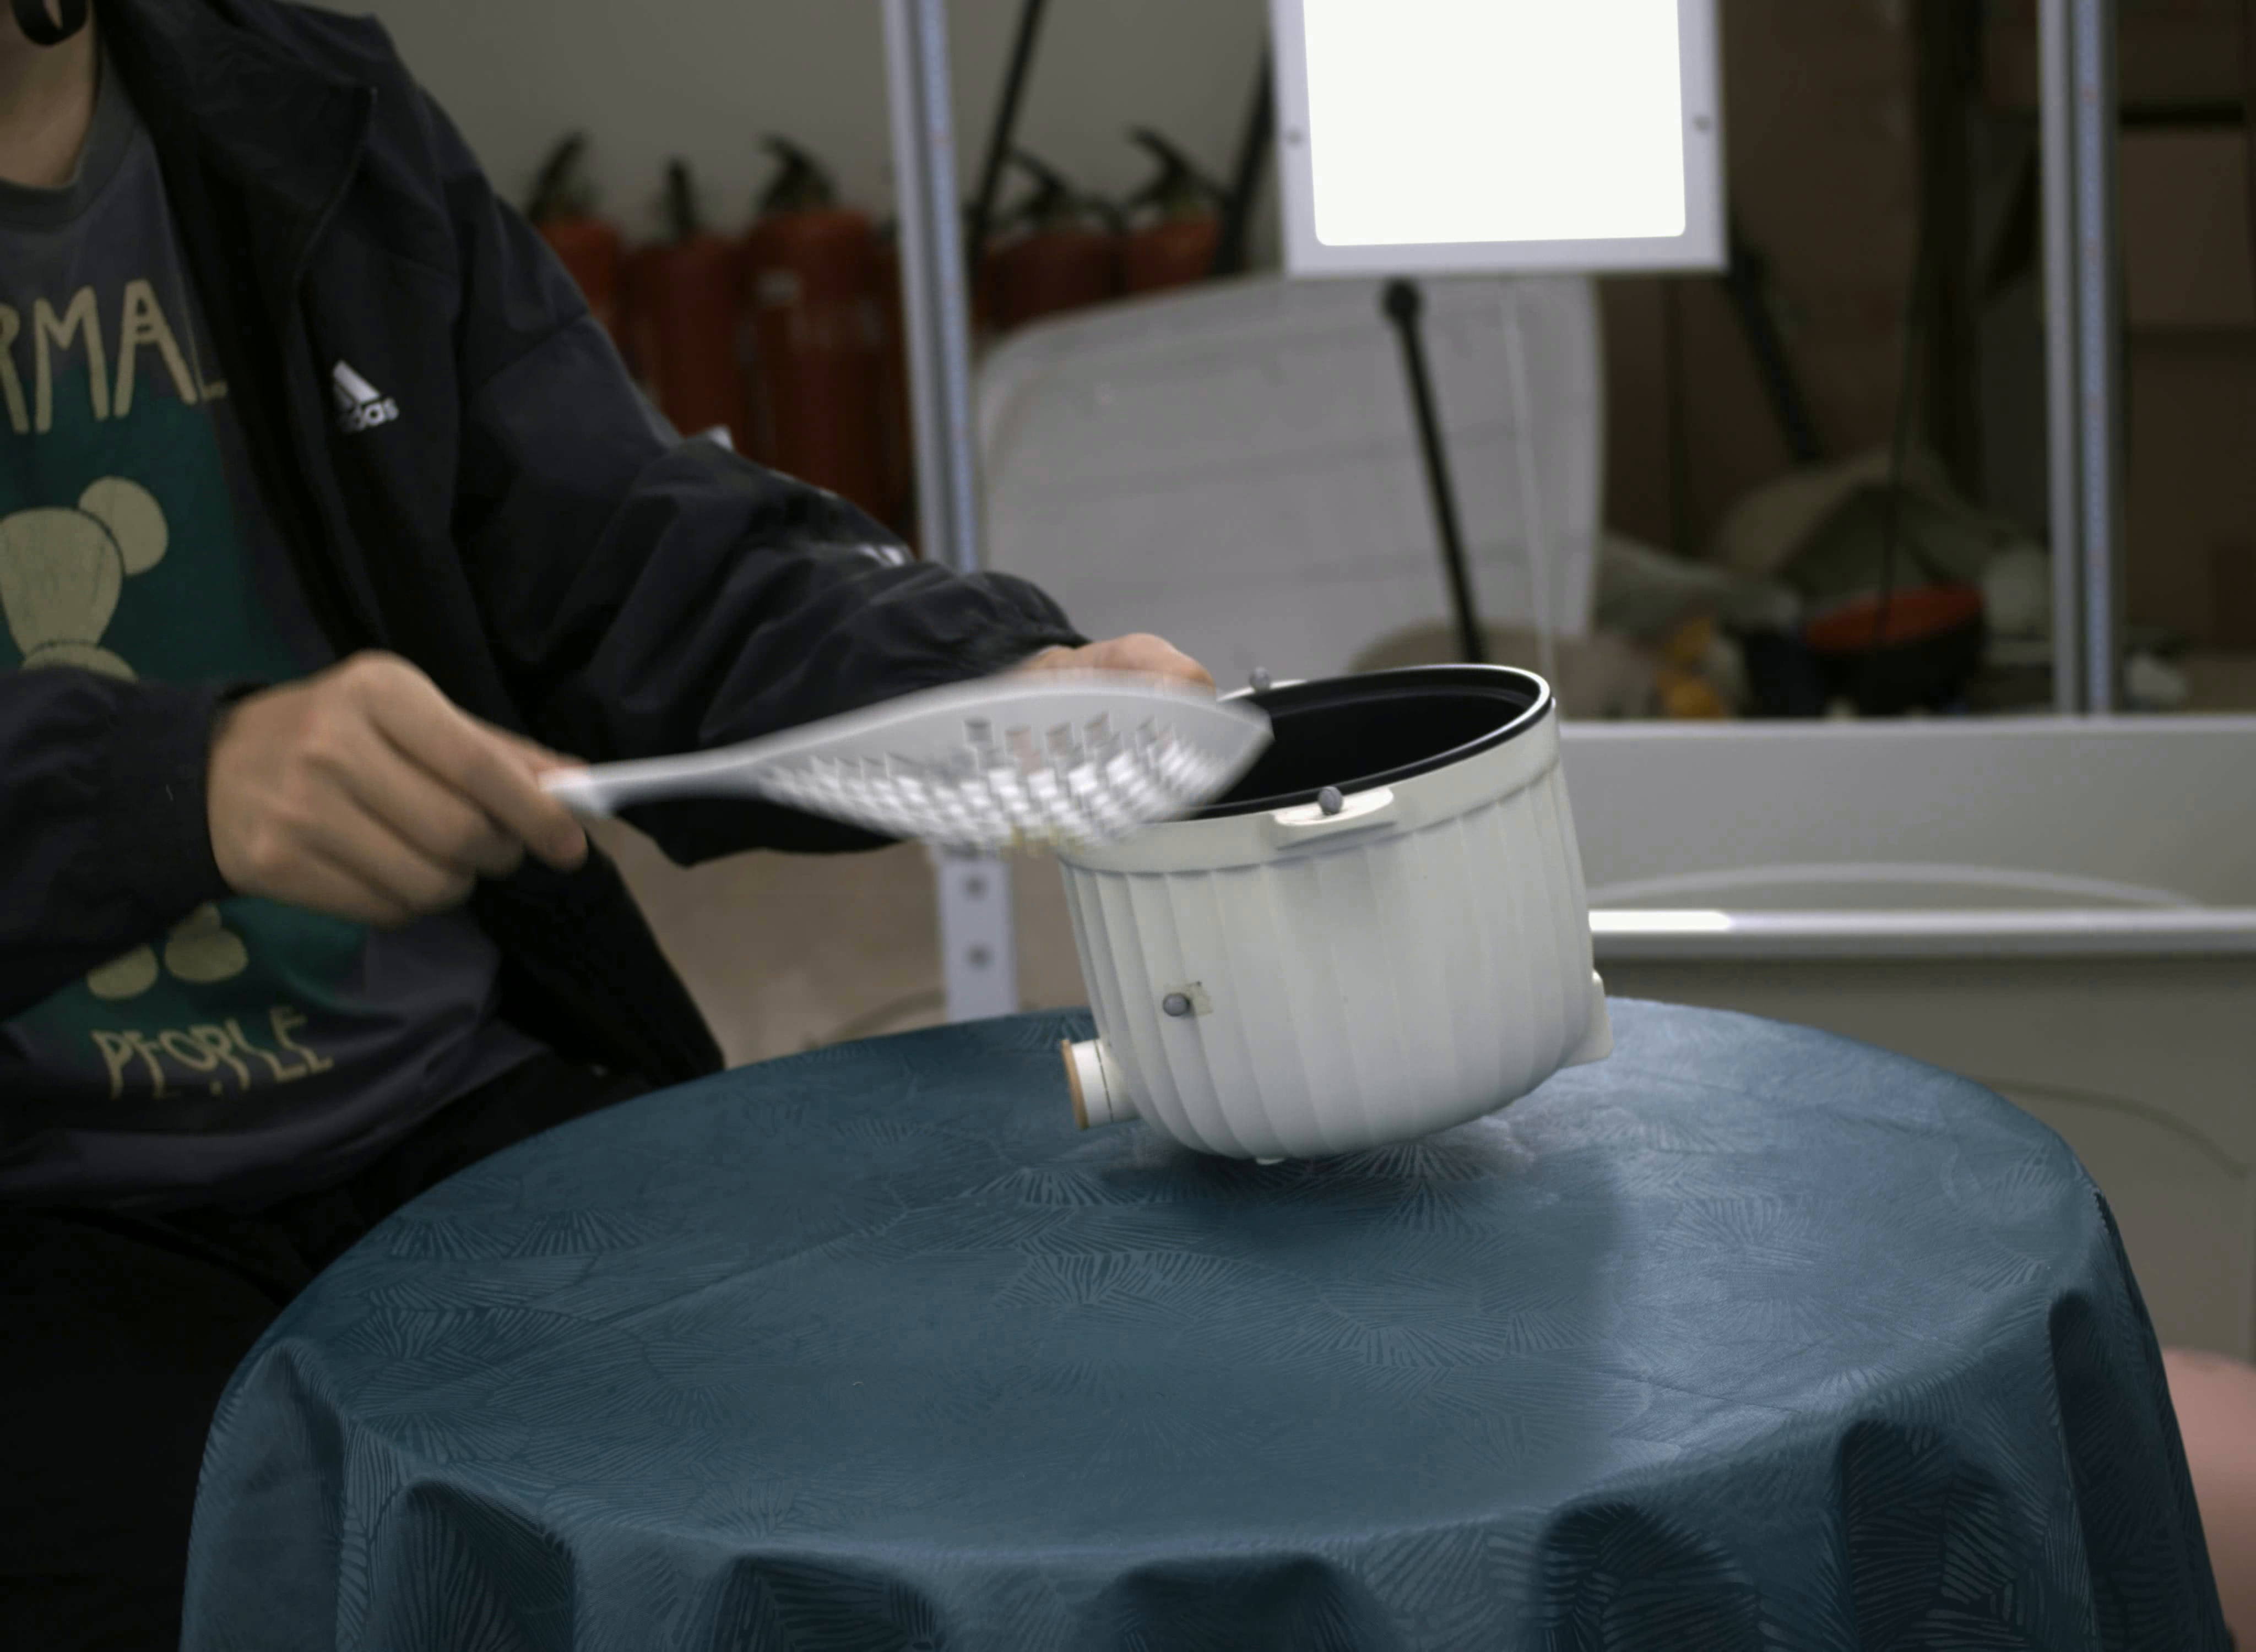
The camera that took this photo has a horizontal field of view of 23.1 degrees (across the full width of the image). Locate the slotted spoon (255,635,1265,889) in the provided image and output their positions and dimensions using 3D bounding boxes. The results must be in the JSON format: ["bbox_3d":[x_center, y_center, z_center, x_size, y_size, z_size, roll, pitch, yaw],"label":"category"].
[{"bbox_3d":[-0.124,-0.015,1.768,0.353,0.050,0.134,-4,-9,24],"label":"slotted spoon"}]

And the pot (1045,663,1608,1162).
[{"bbox_3d":[0.065,0.033,1.912,0.189,0.143,0.241,-10,11,-3],"label":"pot"}]
